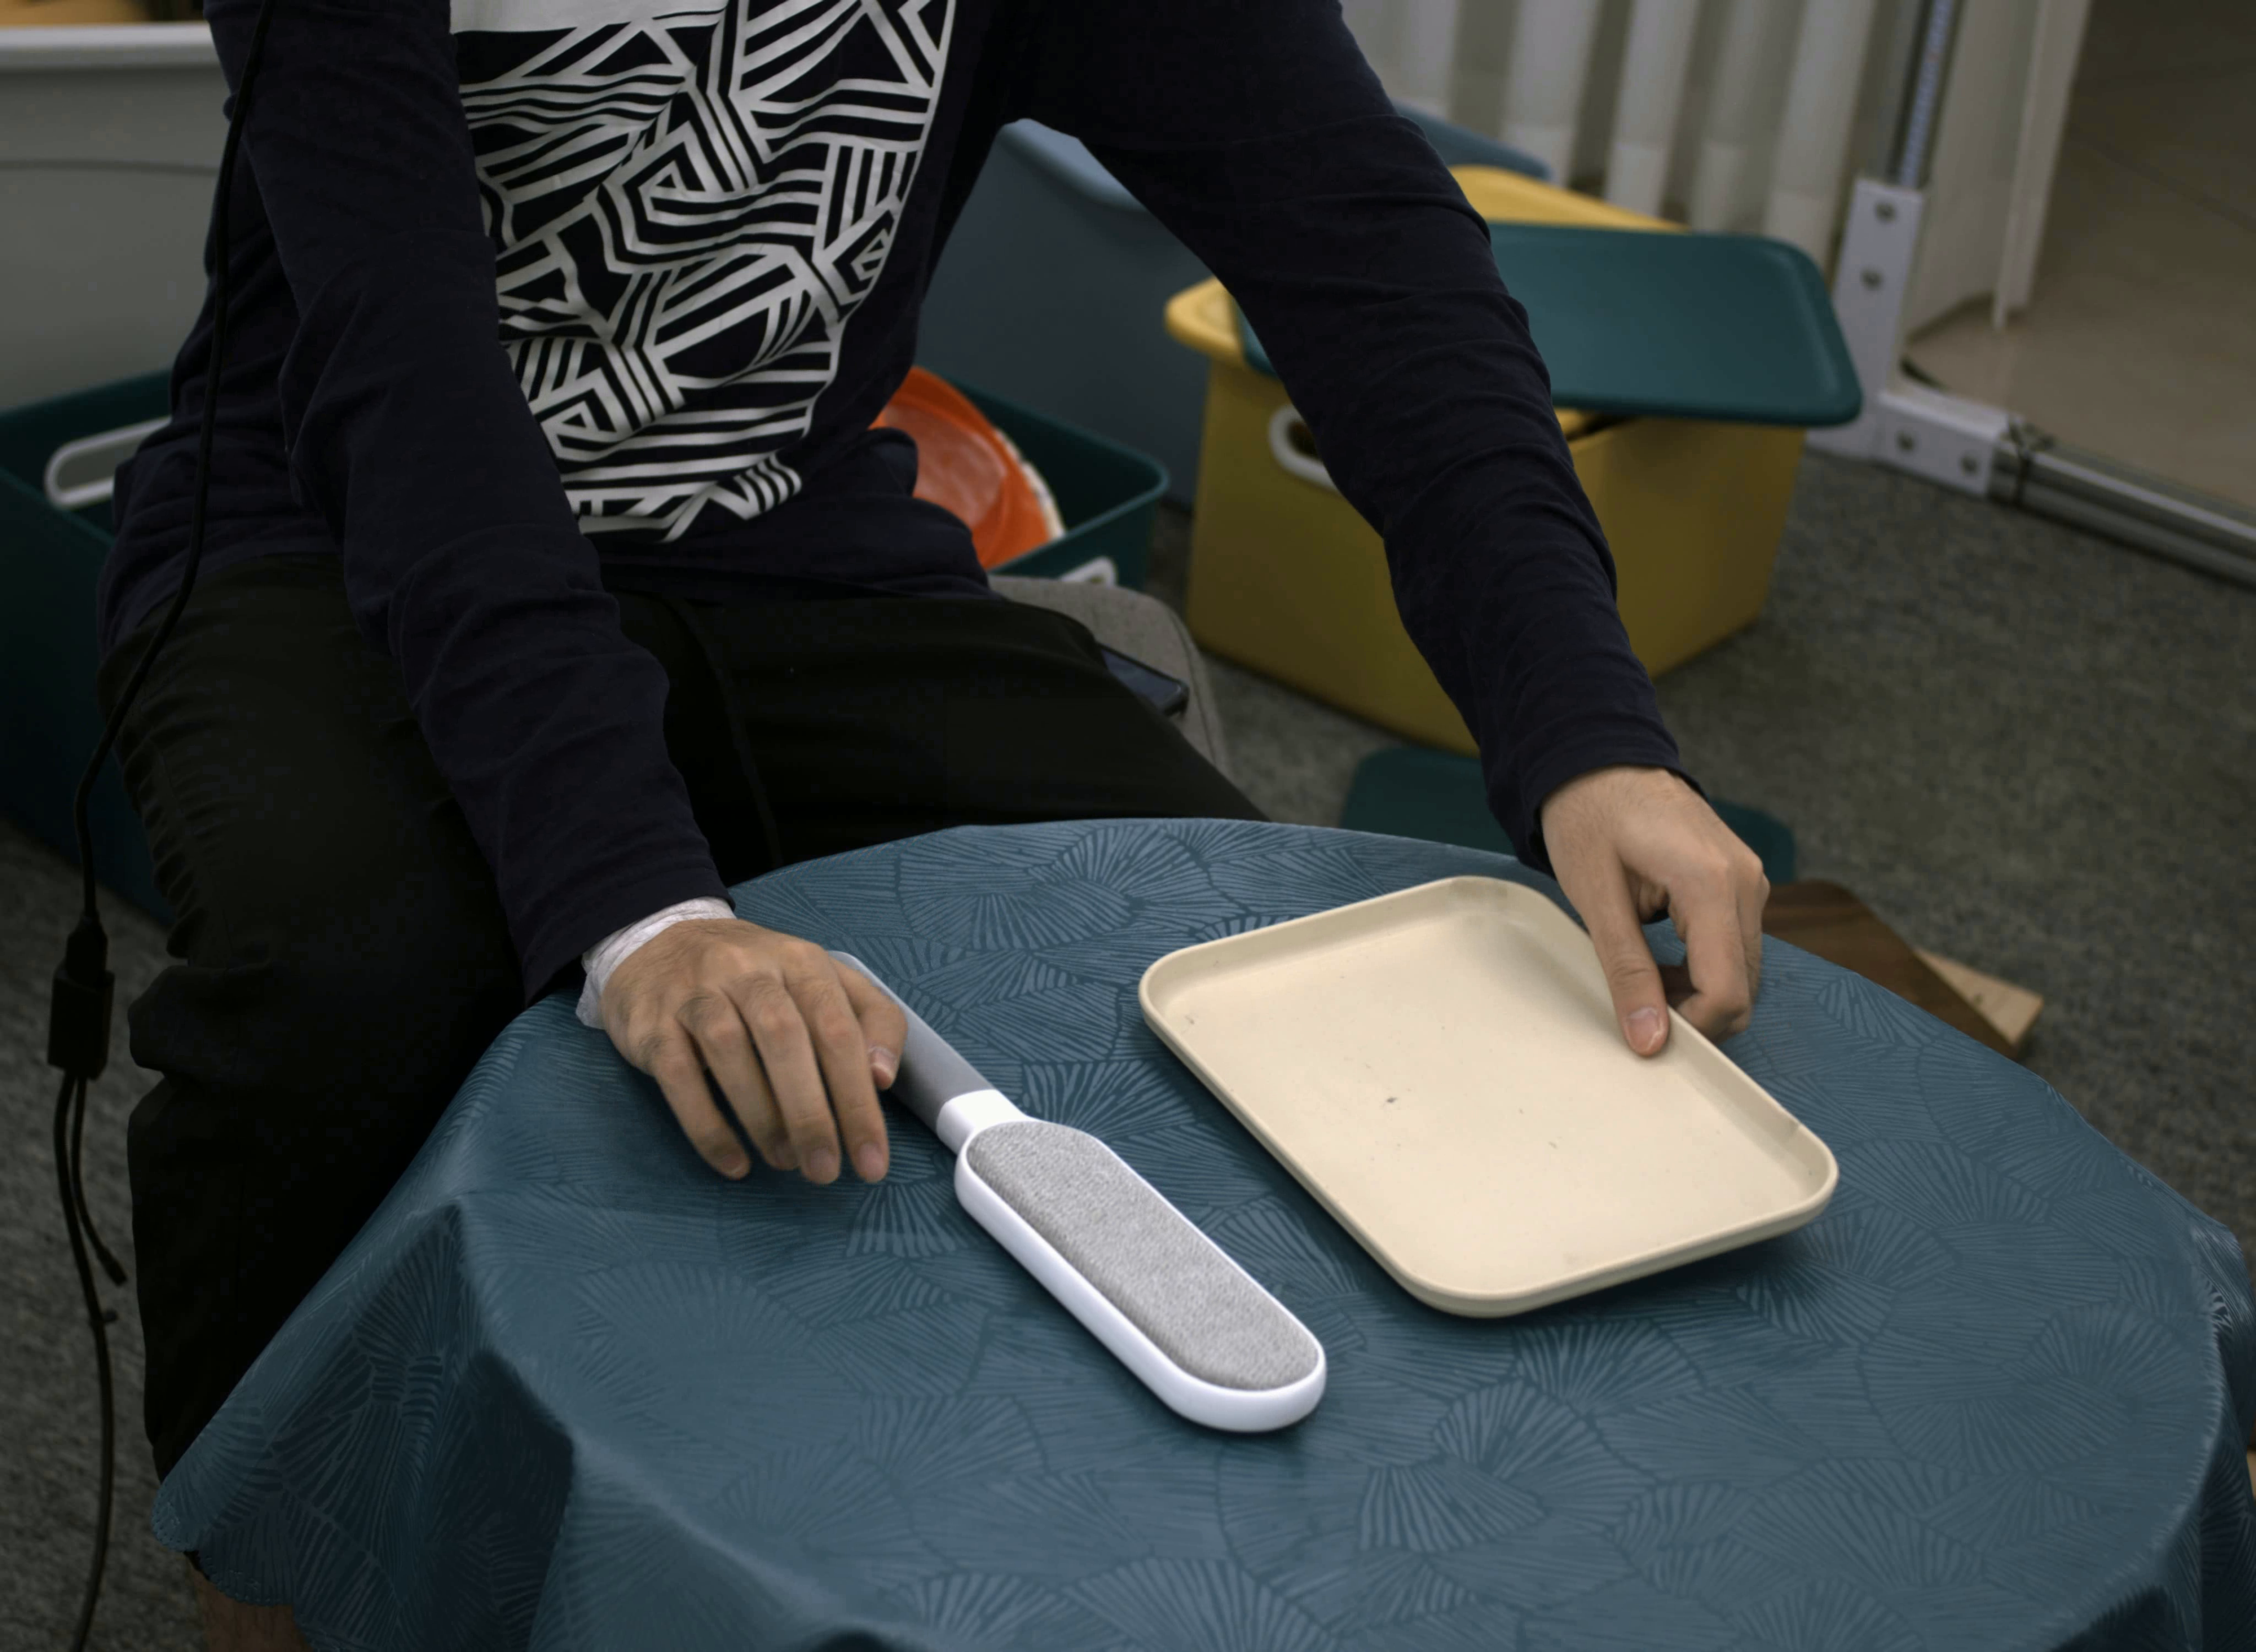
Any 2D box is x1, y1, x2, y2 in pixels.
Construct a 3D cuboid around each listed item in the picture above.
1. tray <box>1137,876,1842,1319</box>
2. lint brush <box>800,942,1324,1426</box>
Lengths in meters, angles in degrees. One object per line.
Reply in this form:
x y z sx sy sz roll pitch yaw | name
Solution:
0.123 0.093 1.858 0.170 0.017 0.242 -15 34 -24 | tray
-0.030 0.115 1.786 0.060 0.021 0.312 -15 34 -27 | lint brush
